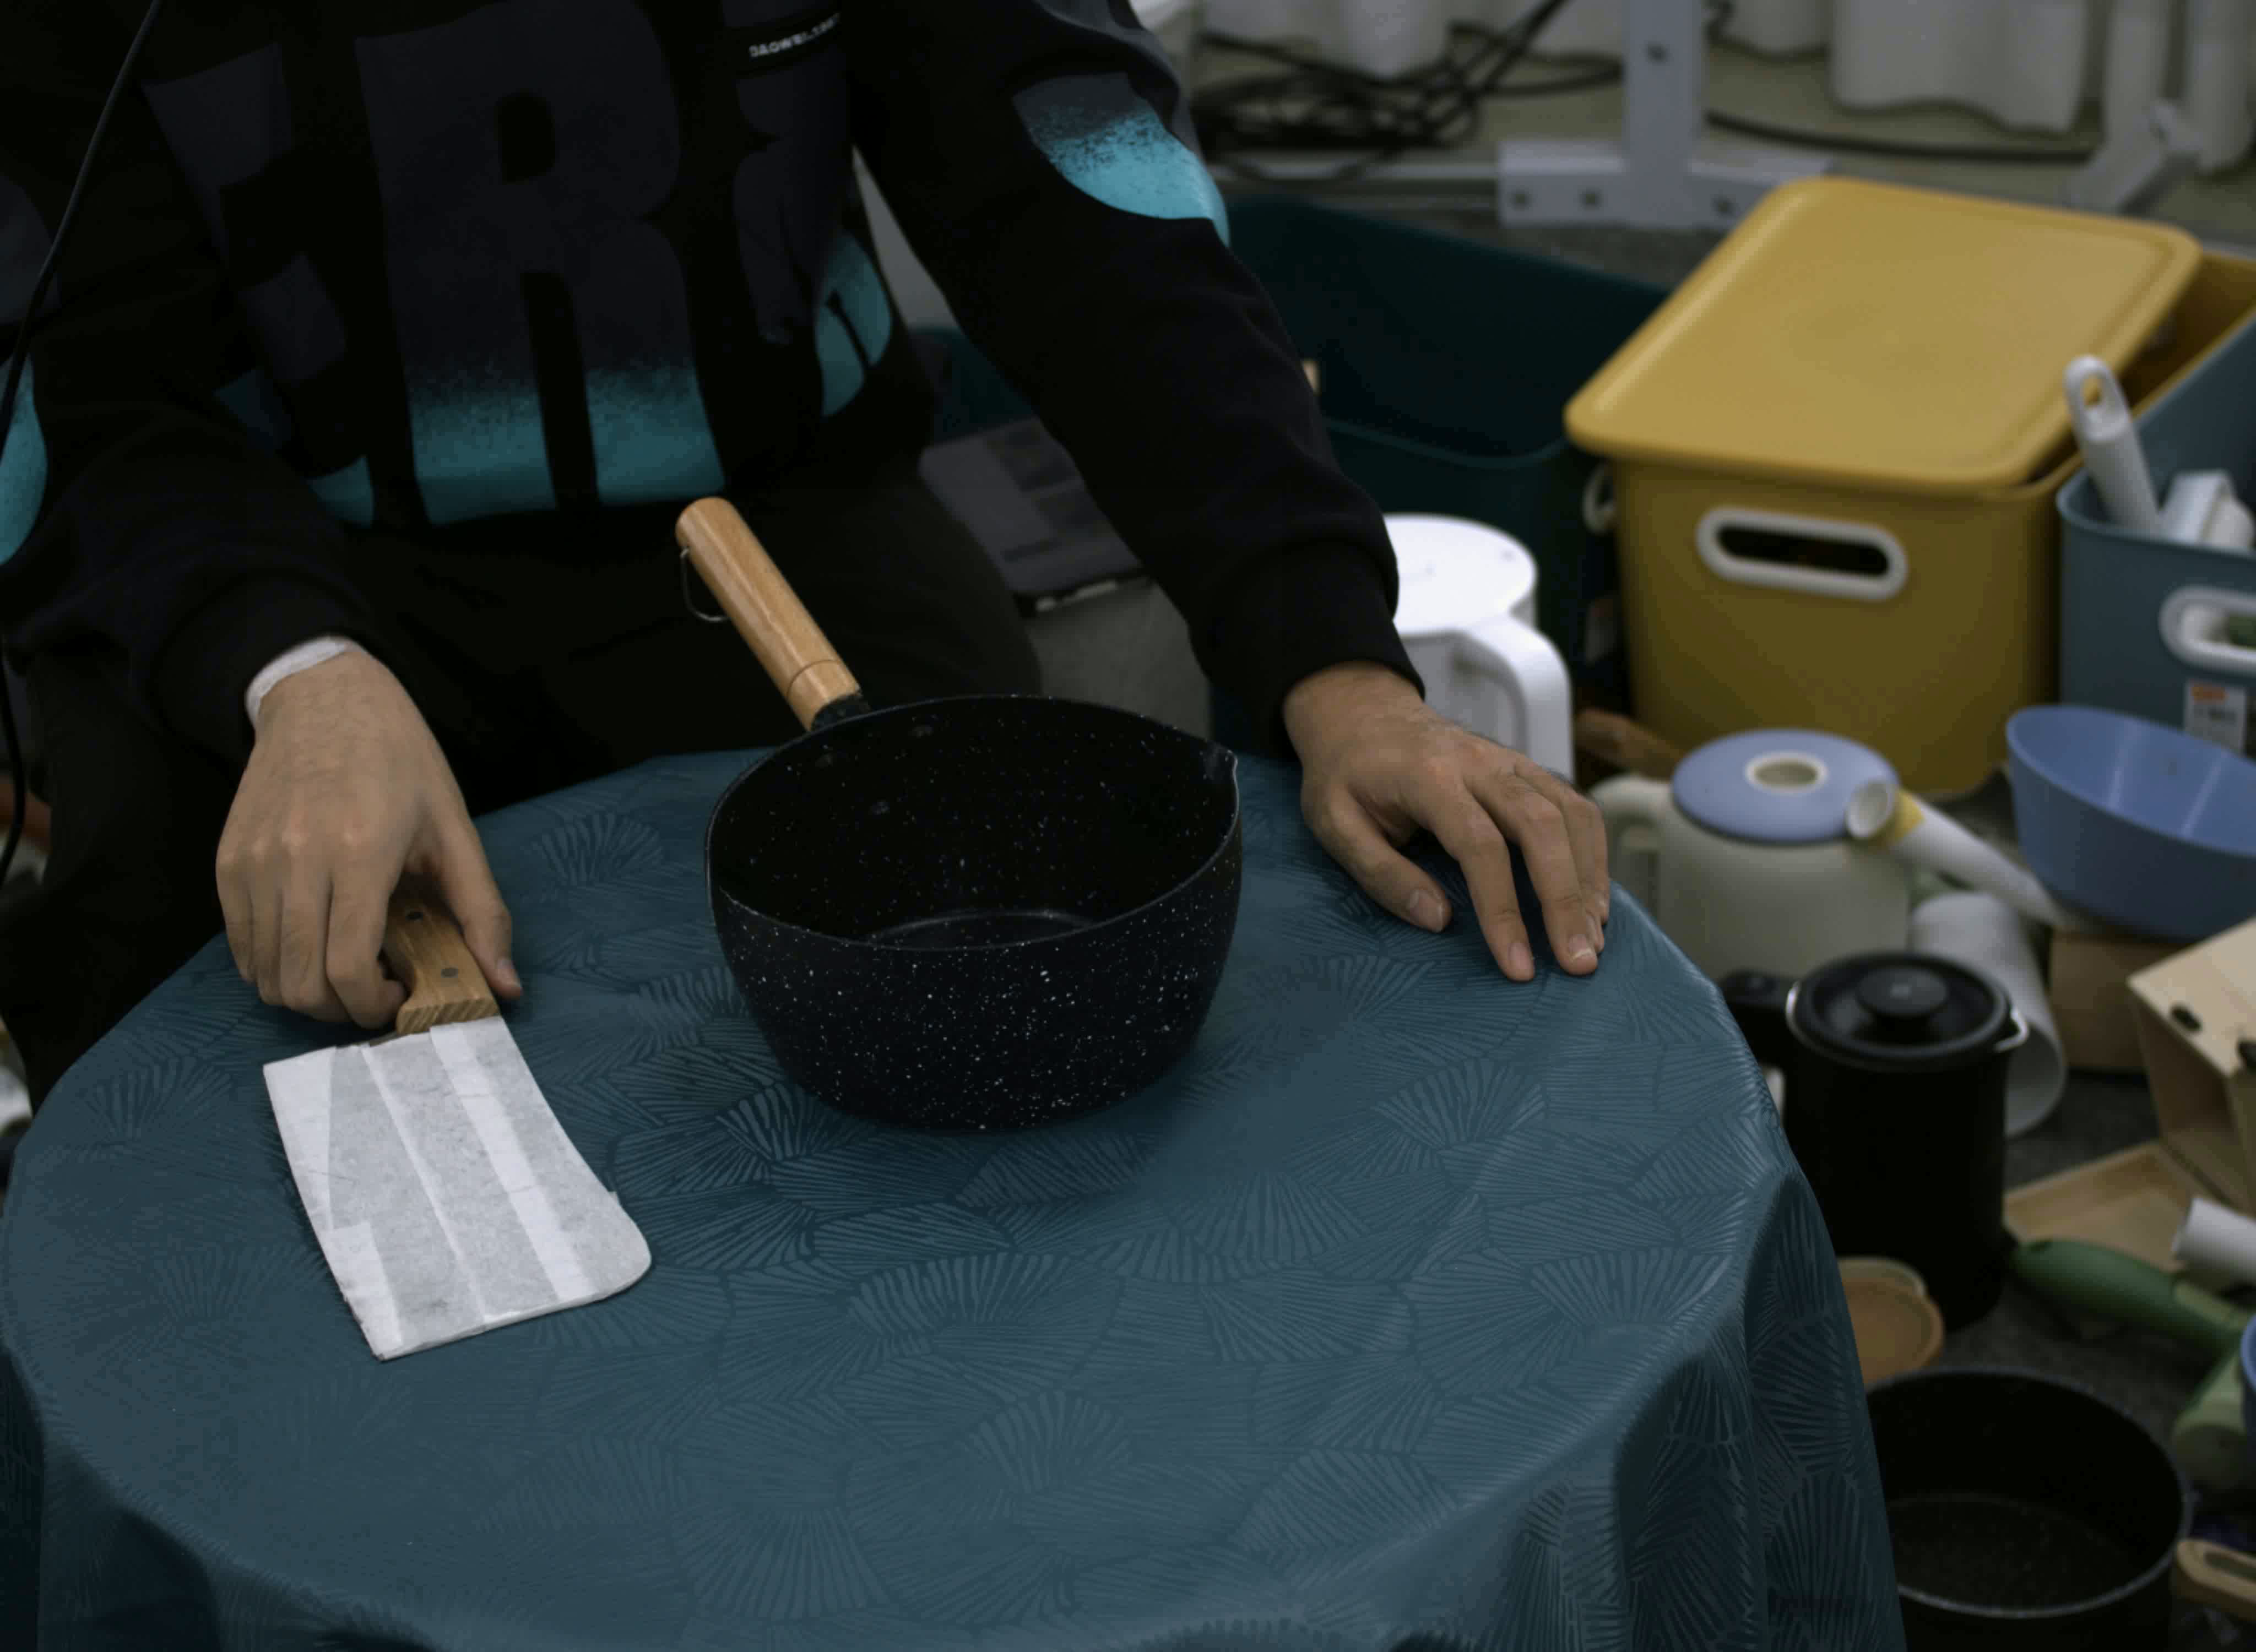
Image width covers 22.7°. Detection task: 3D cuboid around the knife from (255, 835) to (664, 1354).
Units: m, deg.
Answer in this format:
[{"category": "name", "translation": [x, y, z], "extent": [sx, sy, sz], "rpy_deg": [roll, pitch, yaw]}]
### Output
[{"category": "knife", "translation": [-0.241, 0.088, 1.932], "extent": [0.114, 0.021, 0.319], "rpy_deg": [-10, 31, -13]}]

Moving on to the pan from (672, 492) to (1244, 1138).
[{"category": "pan", "translation": [-0.087, -0.008, 2.004], "extent": [0.208, 0.107, 0.345], "rpy_deg": [-17, 31, -22]}]
